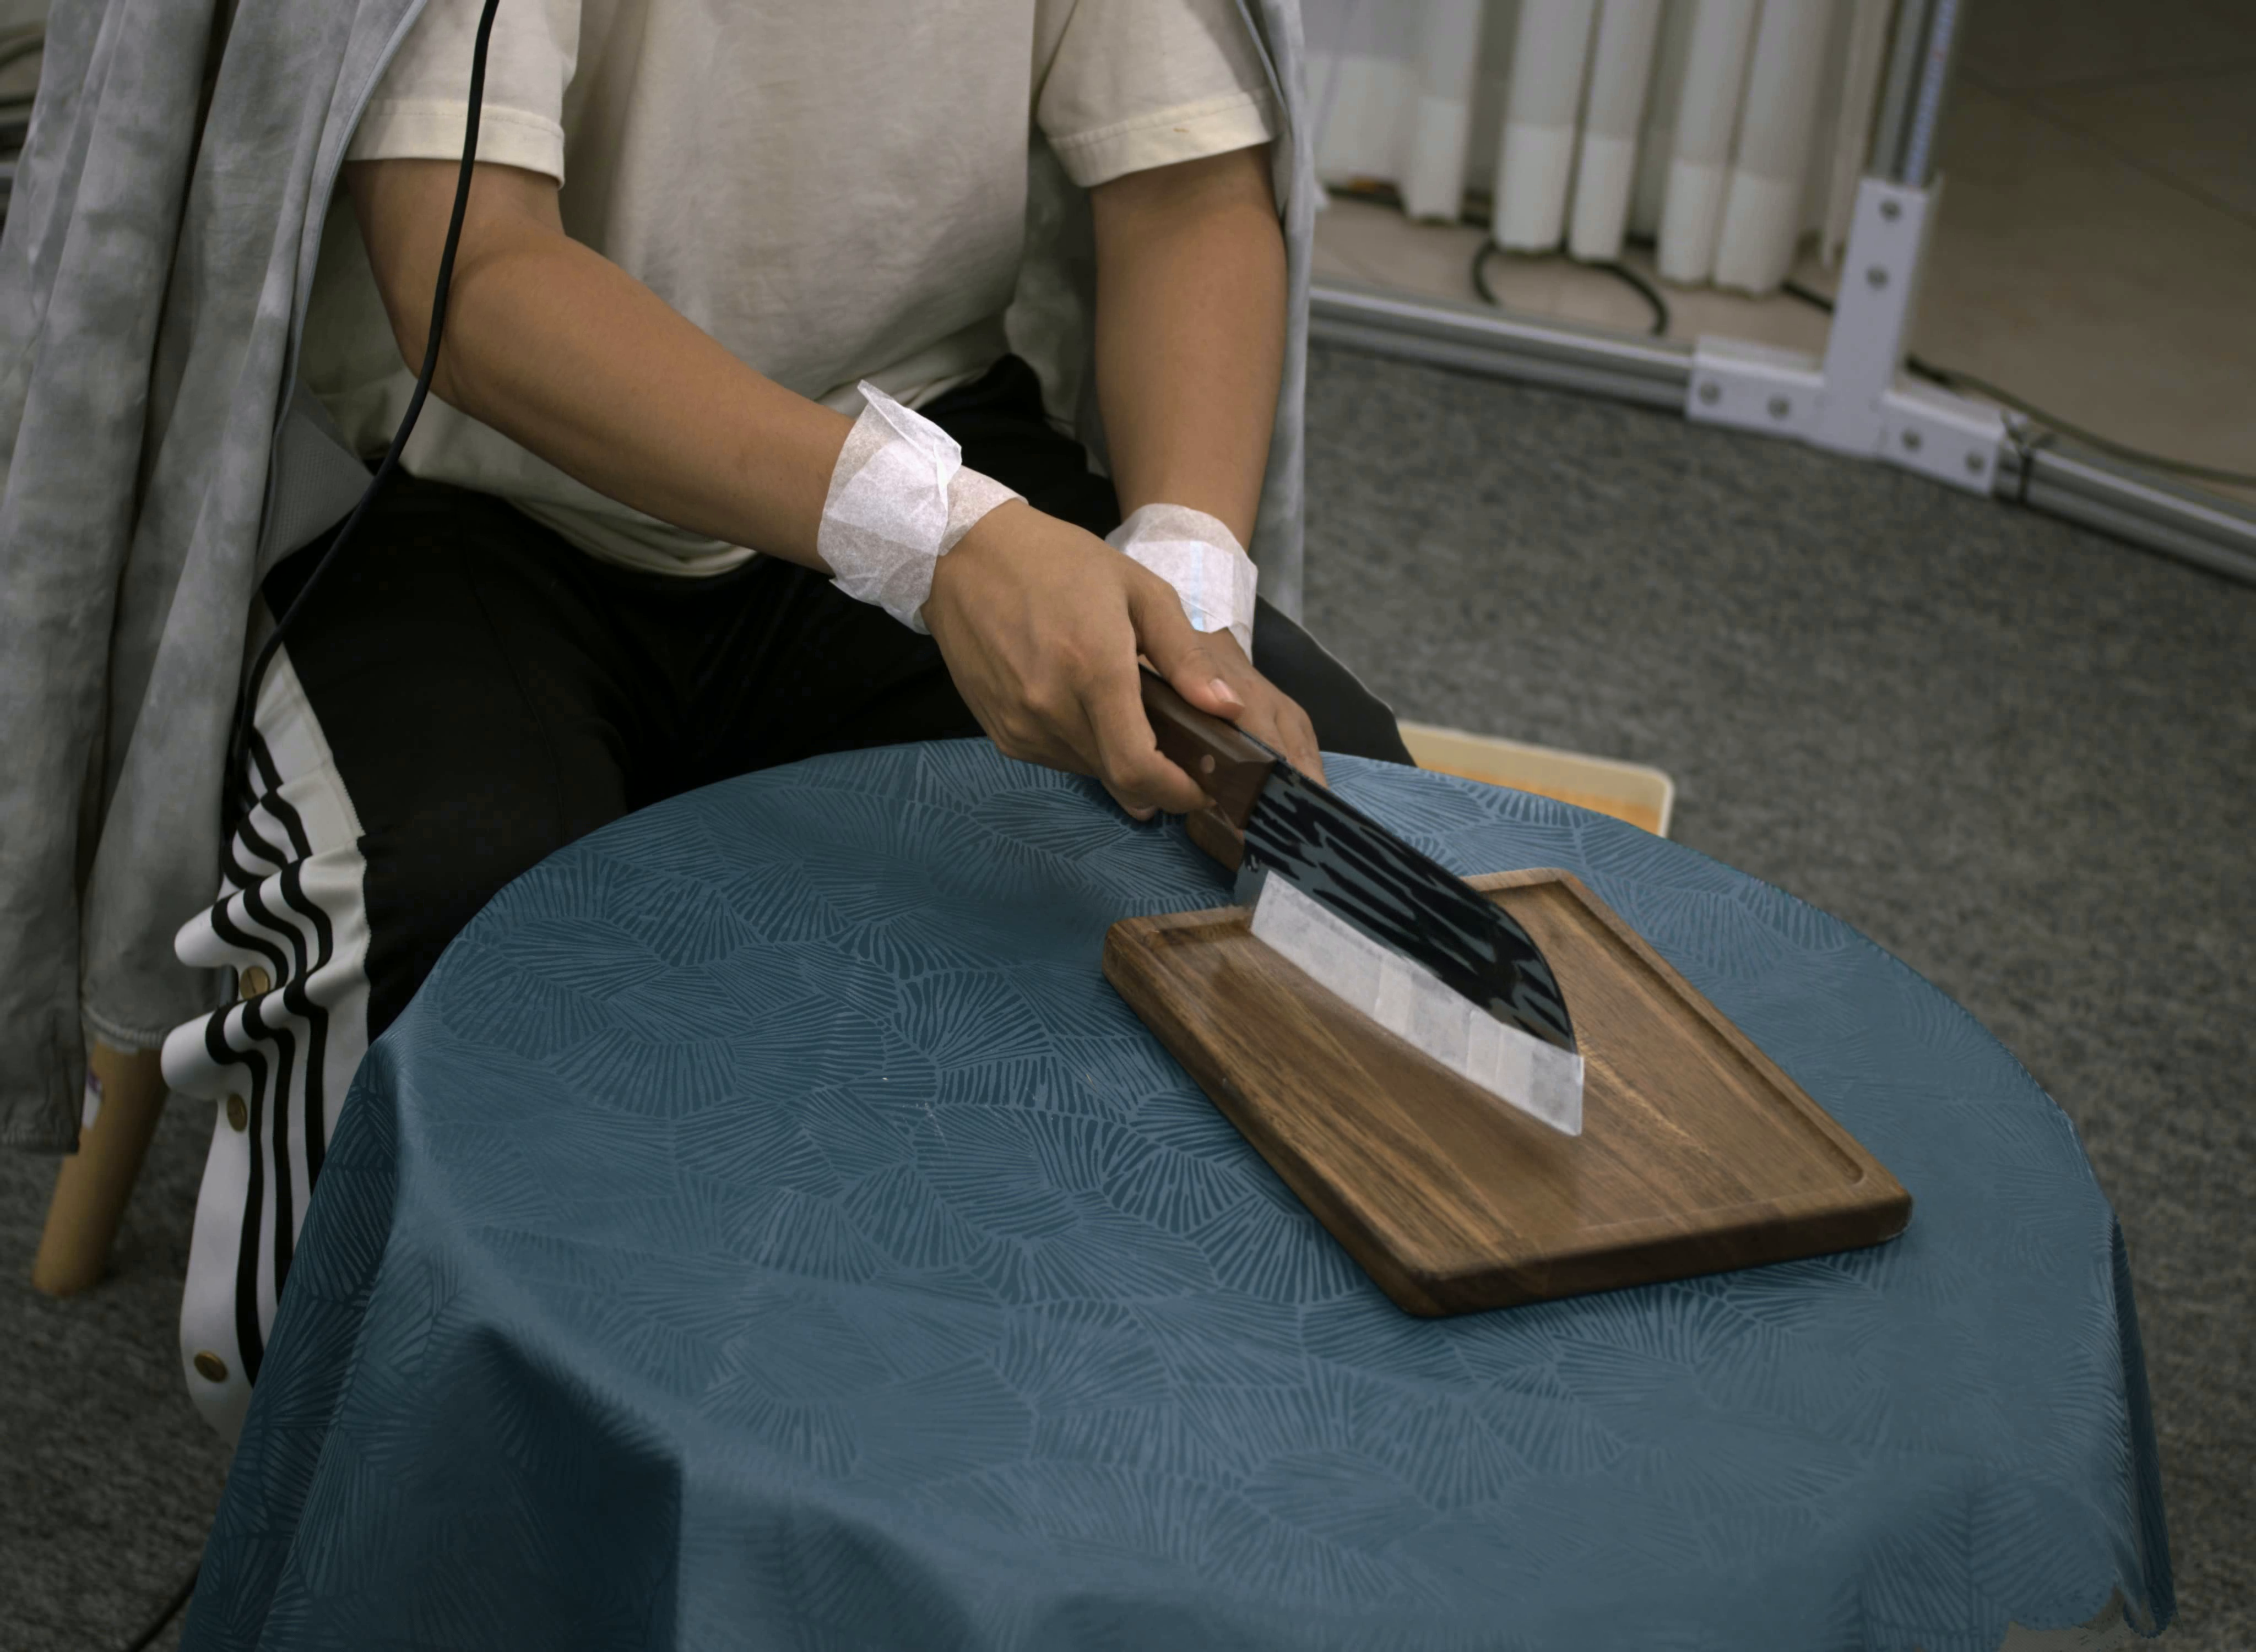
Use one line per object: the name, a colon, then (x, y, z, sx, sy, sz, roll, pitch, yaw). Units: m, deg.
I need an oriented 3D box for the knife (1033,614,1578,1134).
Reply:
knife: (0.061, 0.015, 1.909, 0.024, 0.068, 0.302, -9, 35, -43)

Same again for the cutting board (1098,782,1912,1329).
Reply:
cutting board: (0.108, 0.068, 1.921, 0.200, 0.023, 0.355, -9, 30, -24)
